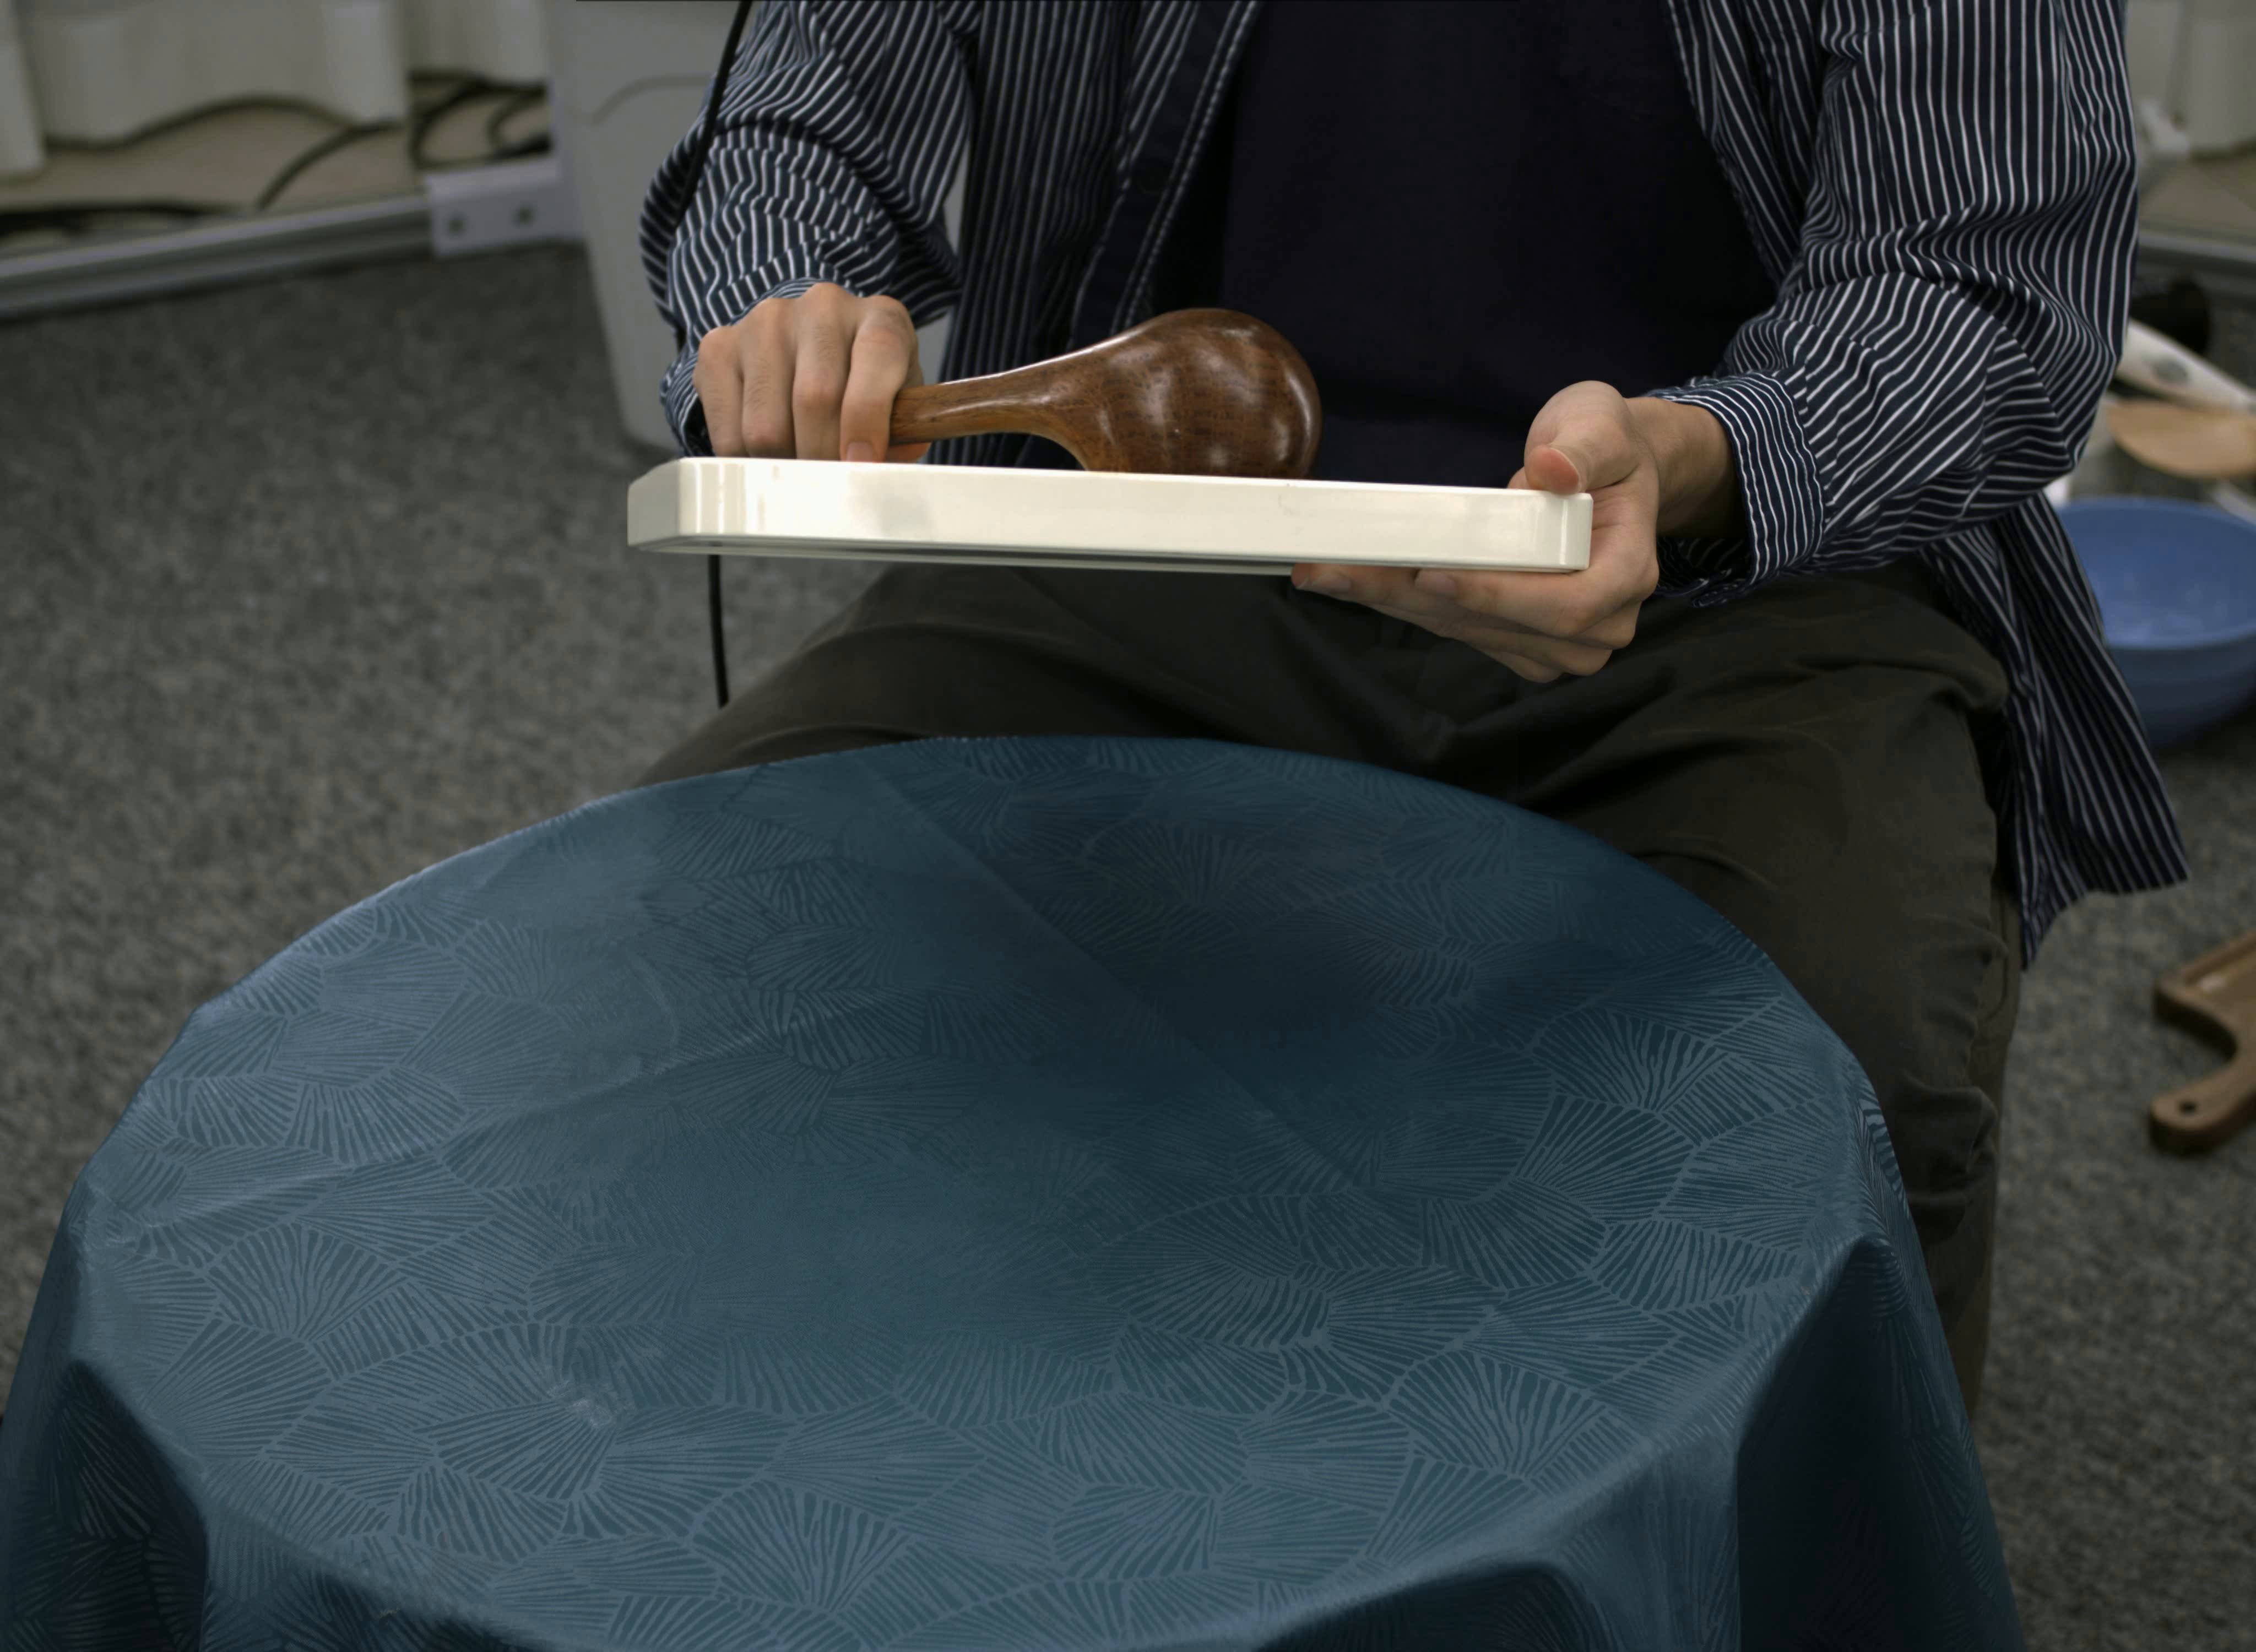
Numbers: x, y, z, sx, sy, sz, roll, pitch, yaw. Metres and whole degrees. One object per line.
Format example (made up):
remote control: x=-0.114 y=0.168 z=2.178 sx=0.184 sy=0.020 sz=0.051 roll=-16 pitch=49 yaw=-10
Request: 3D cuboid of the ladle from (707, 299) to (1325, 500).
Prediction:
ladle: x=-0.039 y=-0.132 z=1.933 sx=0.271 sy=0.076 sz=0.083 roll=-4 pitch=58 yaw=53

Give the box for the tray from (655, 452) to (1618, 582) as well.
tray: x=-0.002 y=-0.101 z=1.880 sx=0.299 sy=0.027 sz=0.191 roll=2 pitch=1 yaw=-11
